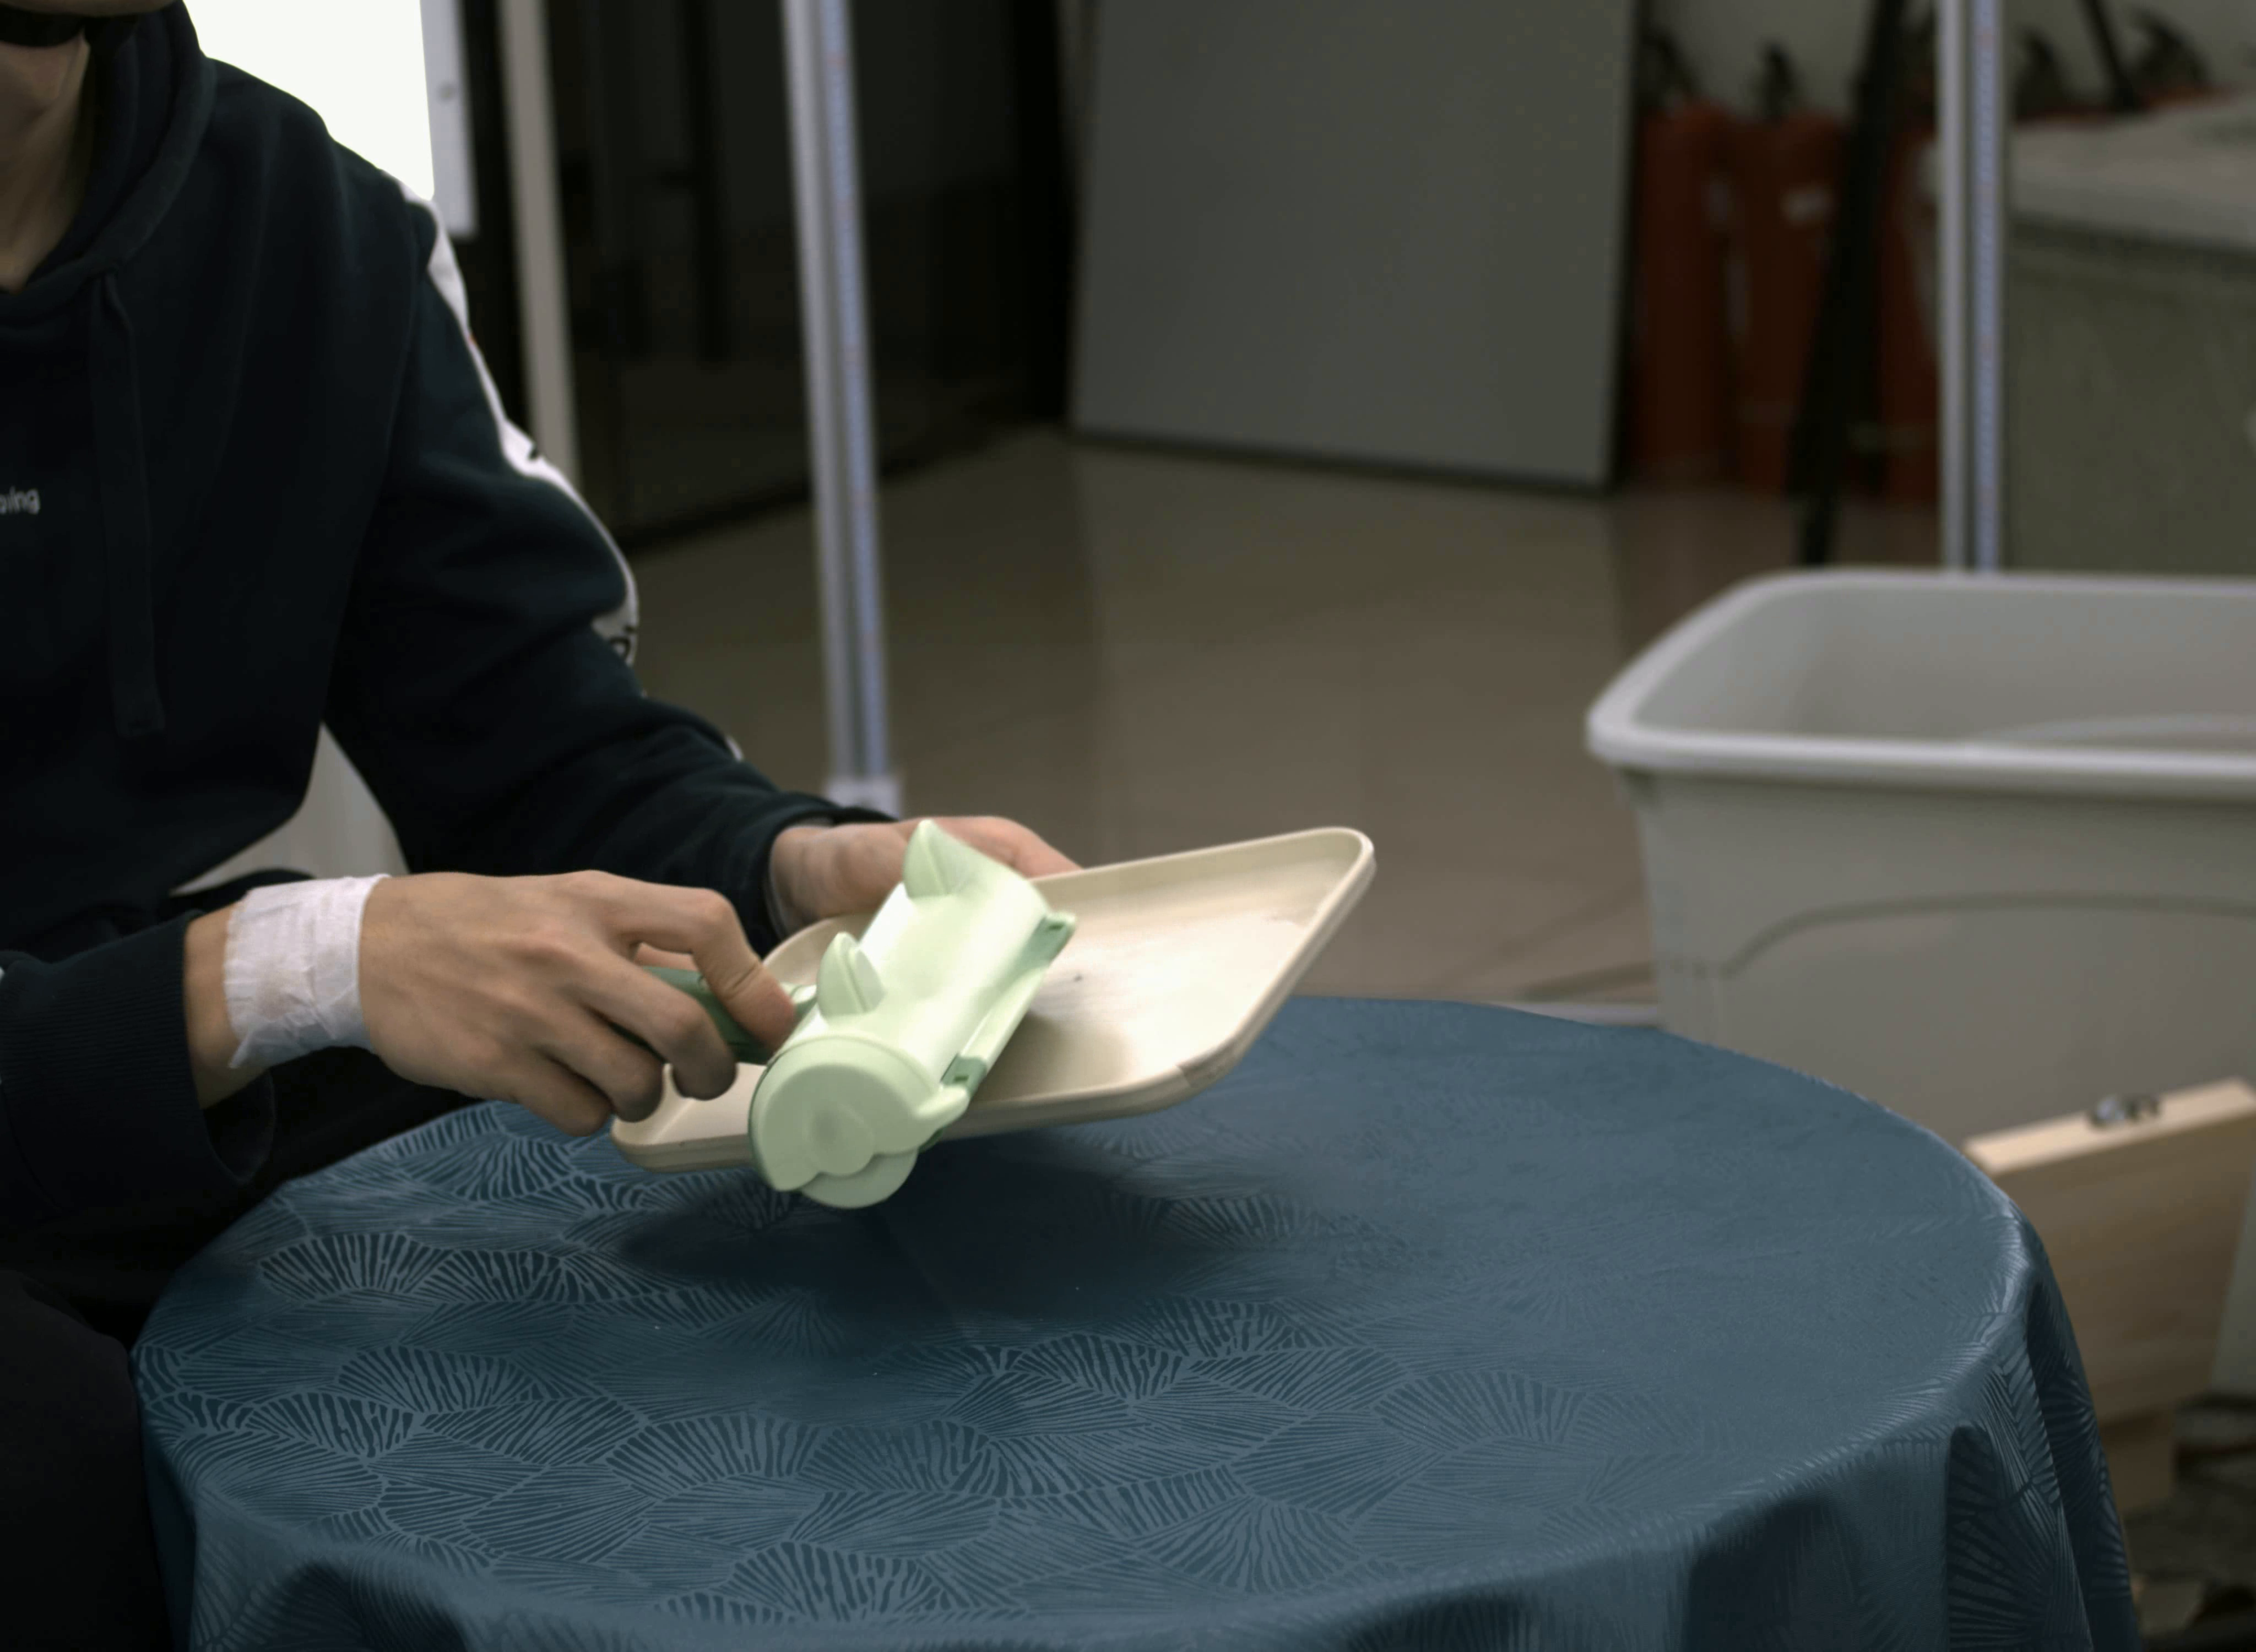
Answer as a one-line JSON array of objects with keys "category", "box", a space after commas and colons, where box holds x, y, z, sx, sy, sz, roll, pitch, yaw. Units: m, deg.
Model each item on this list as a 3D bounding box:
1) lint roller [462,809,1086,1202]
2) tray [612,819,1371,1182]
[{"category": "lint roller", "box": [-0.119, 0.045, 1.683, 0.182, 0.083, 0.197, 8, 18, 11]}, {"category": "tray", "box": [-0.042, 0.059, 1.752, 0.241, 0.017, 0.170, -11, 22, 32]}]
